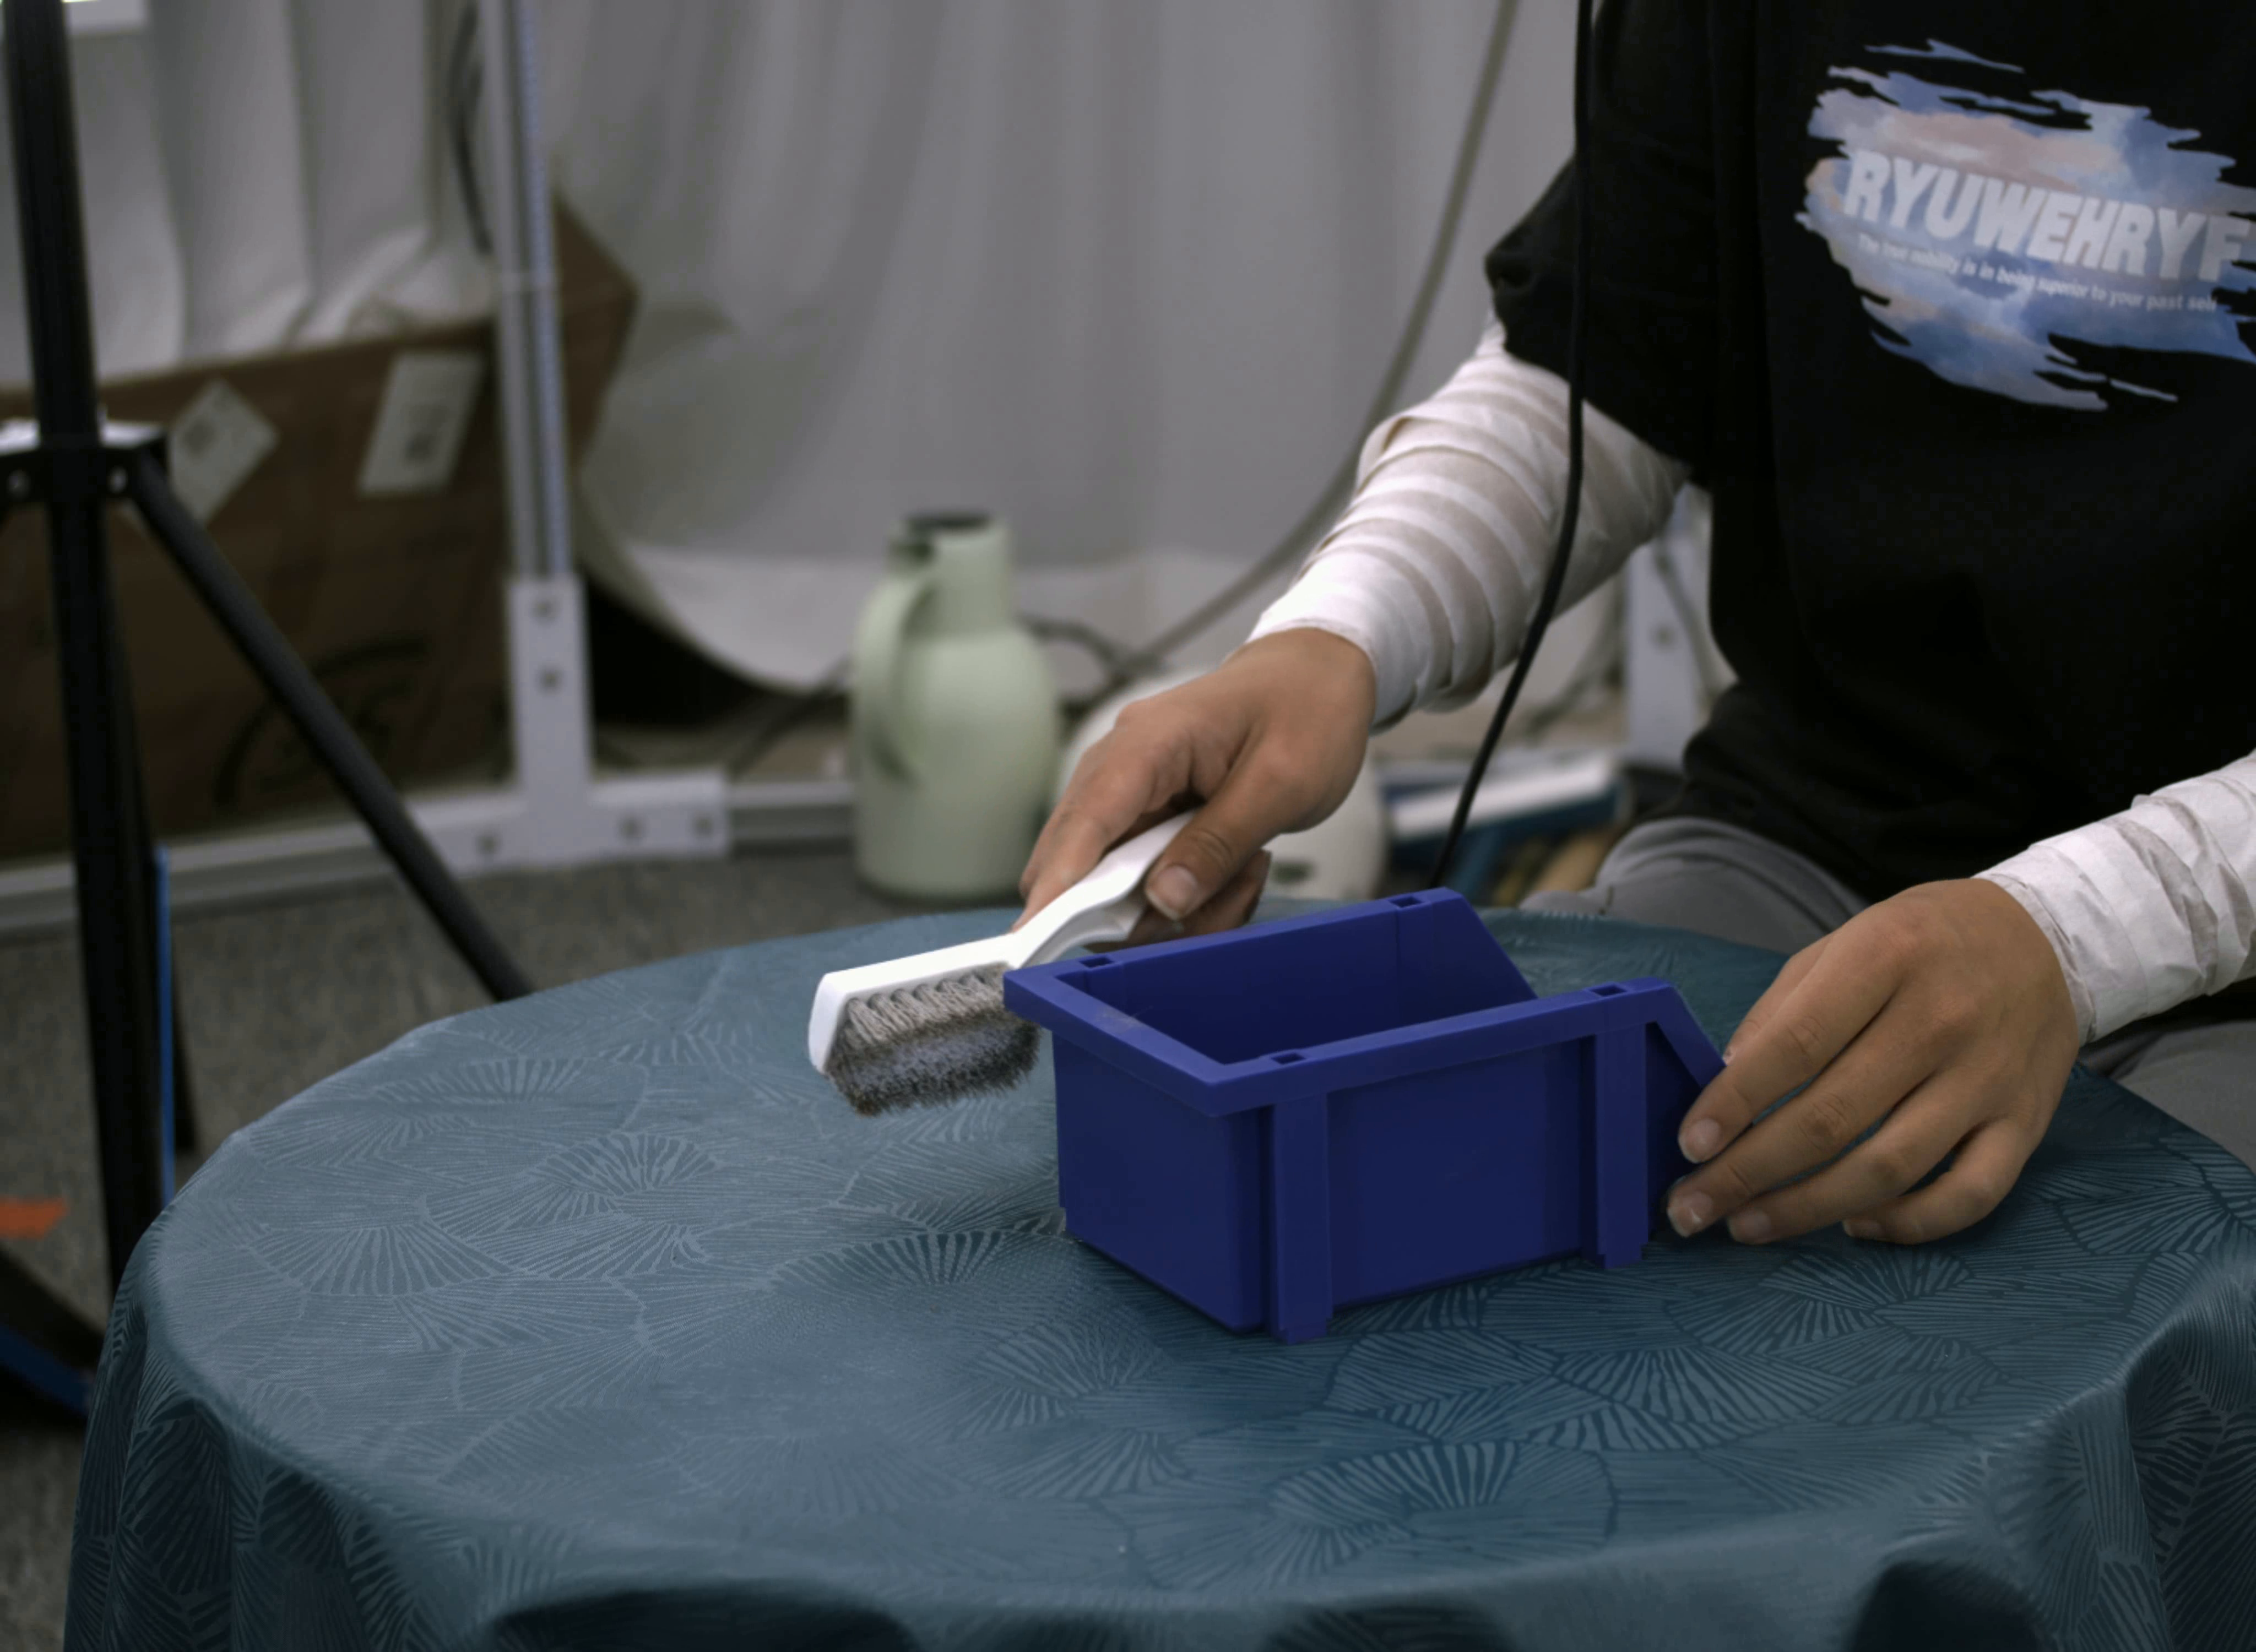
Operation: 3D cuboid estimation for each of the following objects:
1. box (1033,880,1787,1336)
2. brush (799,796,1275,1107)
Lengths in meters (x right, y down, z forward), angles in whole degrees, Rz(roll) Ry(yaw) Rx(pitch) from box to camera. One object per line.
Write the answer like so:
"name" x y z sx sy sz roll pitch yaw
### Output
"box" 0.080 0.076 1.511 0.176 0.082 0.127 -11 17 -24
"brush" -0.011 0.036 1.608 0.051 0.034 0.238 28 30 28
